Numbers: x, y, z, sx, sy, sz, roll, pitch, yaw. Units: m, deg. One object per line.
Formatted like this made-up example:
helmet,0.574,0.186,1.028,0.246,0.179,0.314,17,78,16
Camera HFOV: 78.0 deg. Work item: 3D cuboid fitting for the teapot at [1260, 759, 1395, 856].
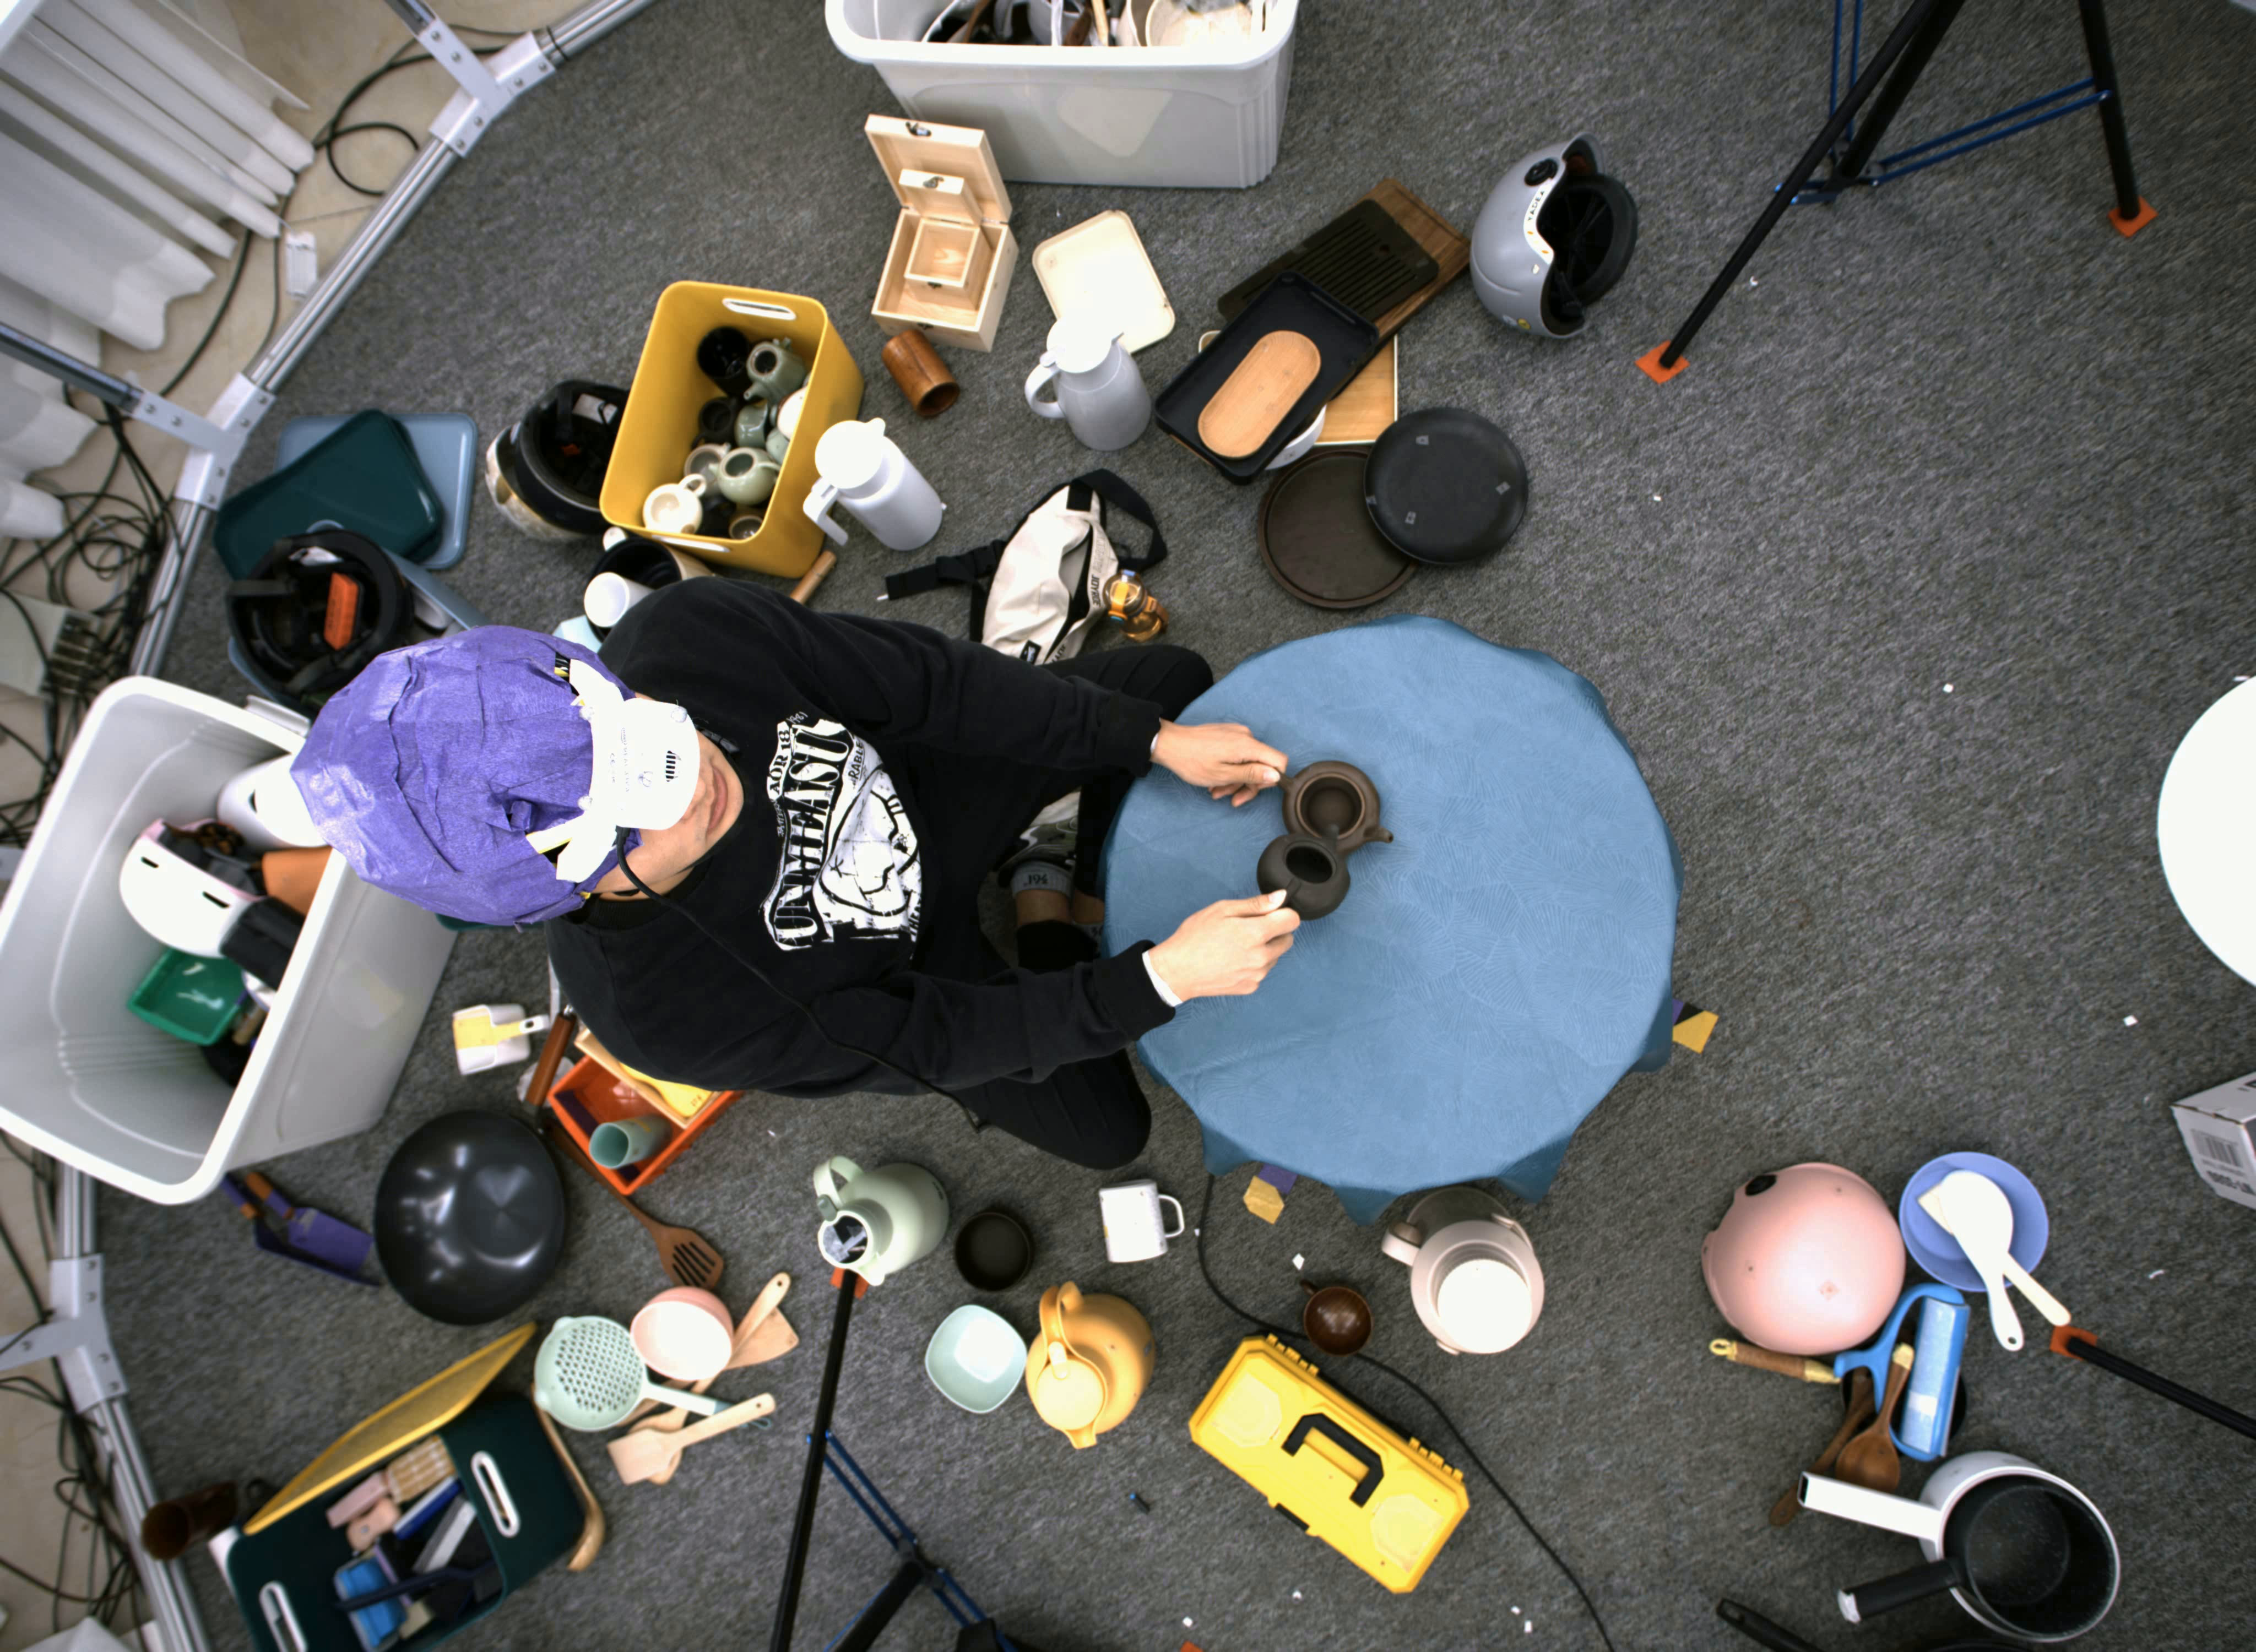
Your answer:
teapot,0.209,-0.022,1.448,0.153,0.054,0.102,24,89,8

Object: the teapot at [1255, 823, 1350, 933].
teapot,0.169,0.053,1.363,0.092,0.066,0.150,32,51,12
